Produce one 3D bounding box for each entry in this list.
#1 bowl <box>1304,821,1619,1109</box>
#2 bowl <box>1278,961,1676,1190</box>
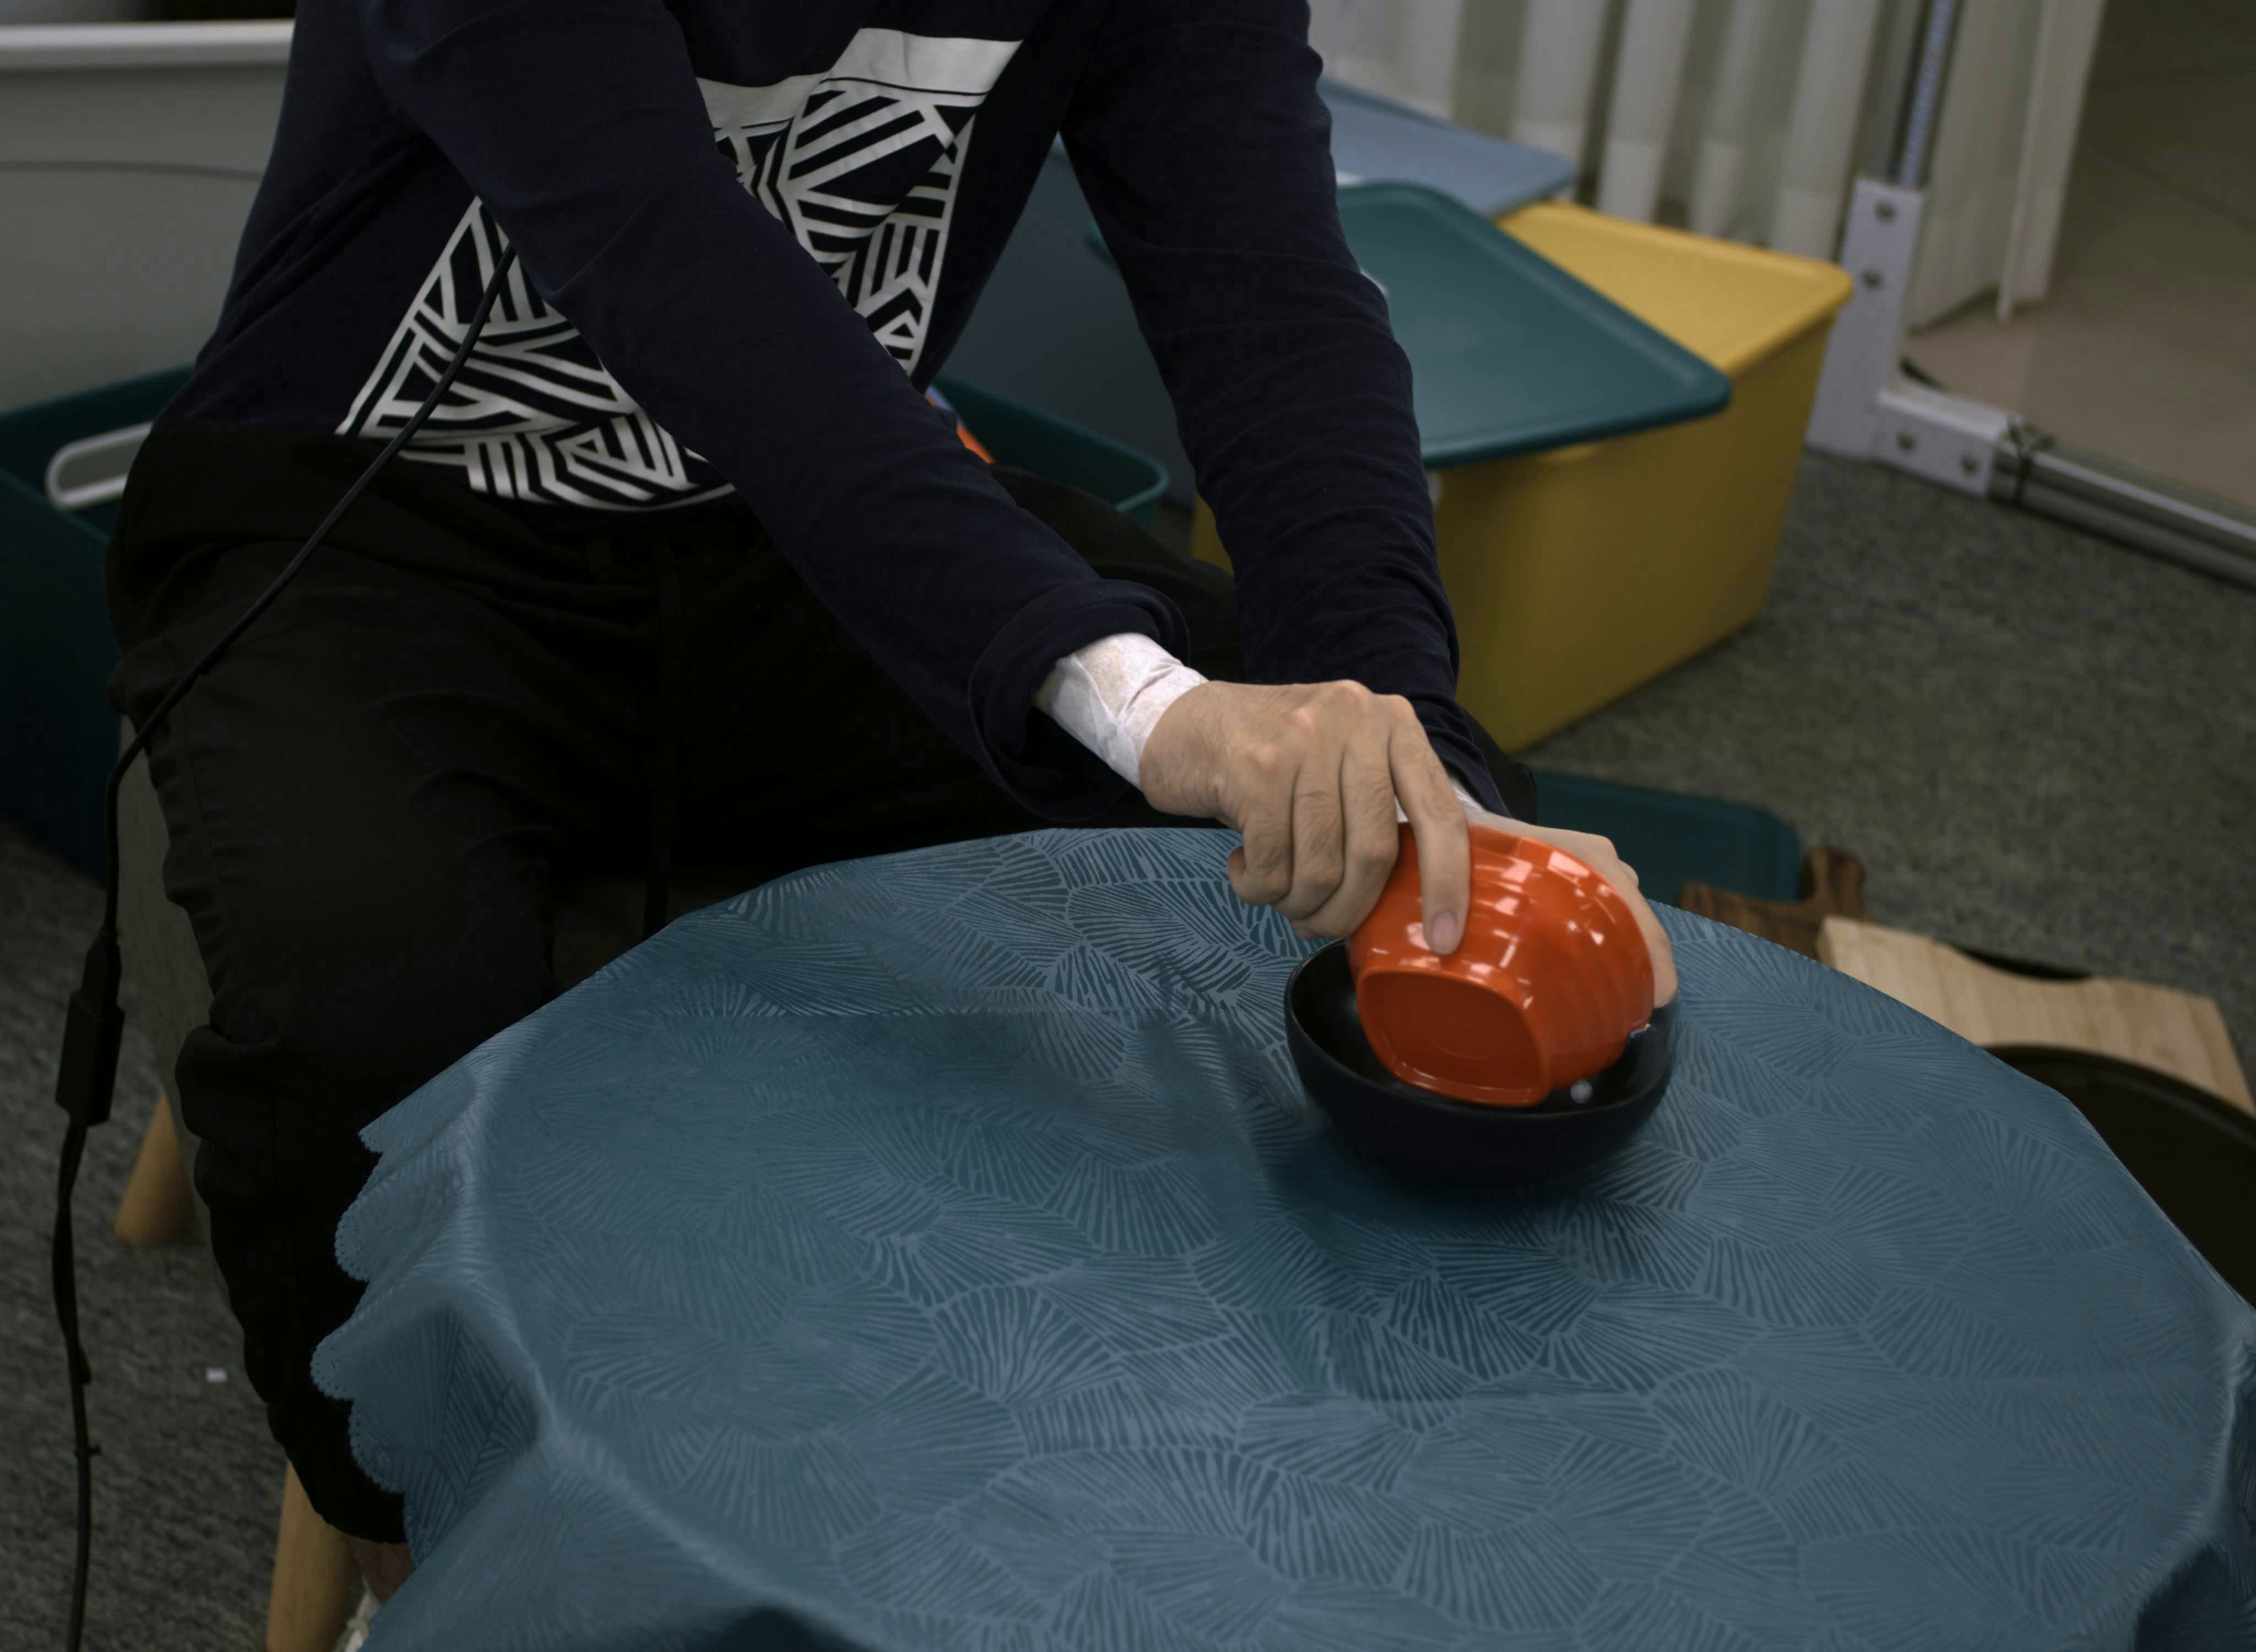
[{"bbox_3d":[0.104,0.054,1.796,0.119,0.118,0.051,19,59,22],"label":"bowl"},{"bbox_3d":[0.119,0.089,1.851,0.139,0.049,0.141,4,22,-2],"label":"bowl"}]
